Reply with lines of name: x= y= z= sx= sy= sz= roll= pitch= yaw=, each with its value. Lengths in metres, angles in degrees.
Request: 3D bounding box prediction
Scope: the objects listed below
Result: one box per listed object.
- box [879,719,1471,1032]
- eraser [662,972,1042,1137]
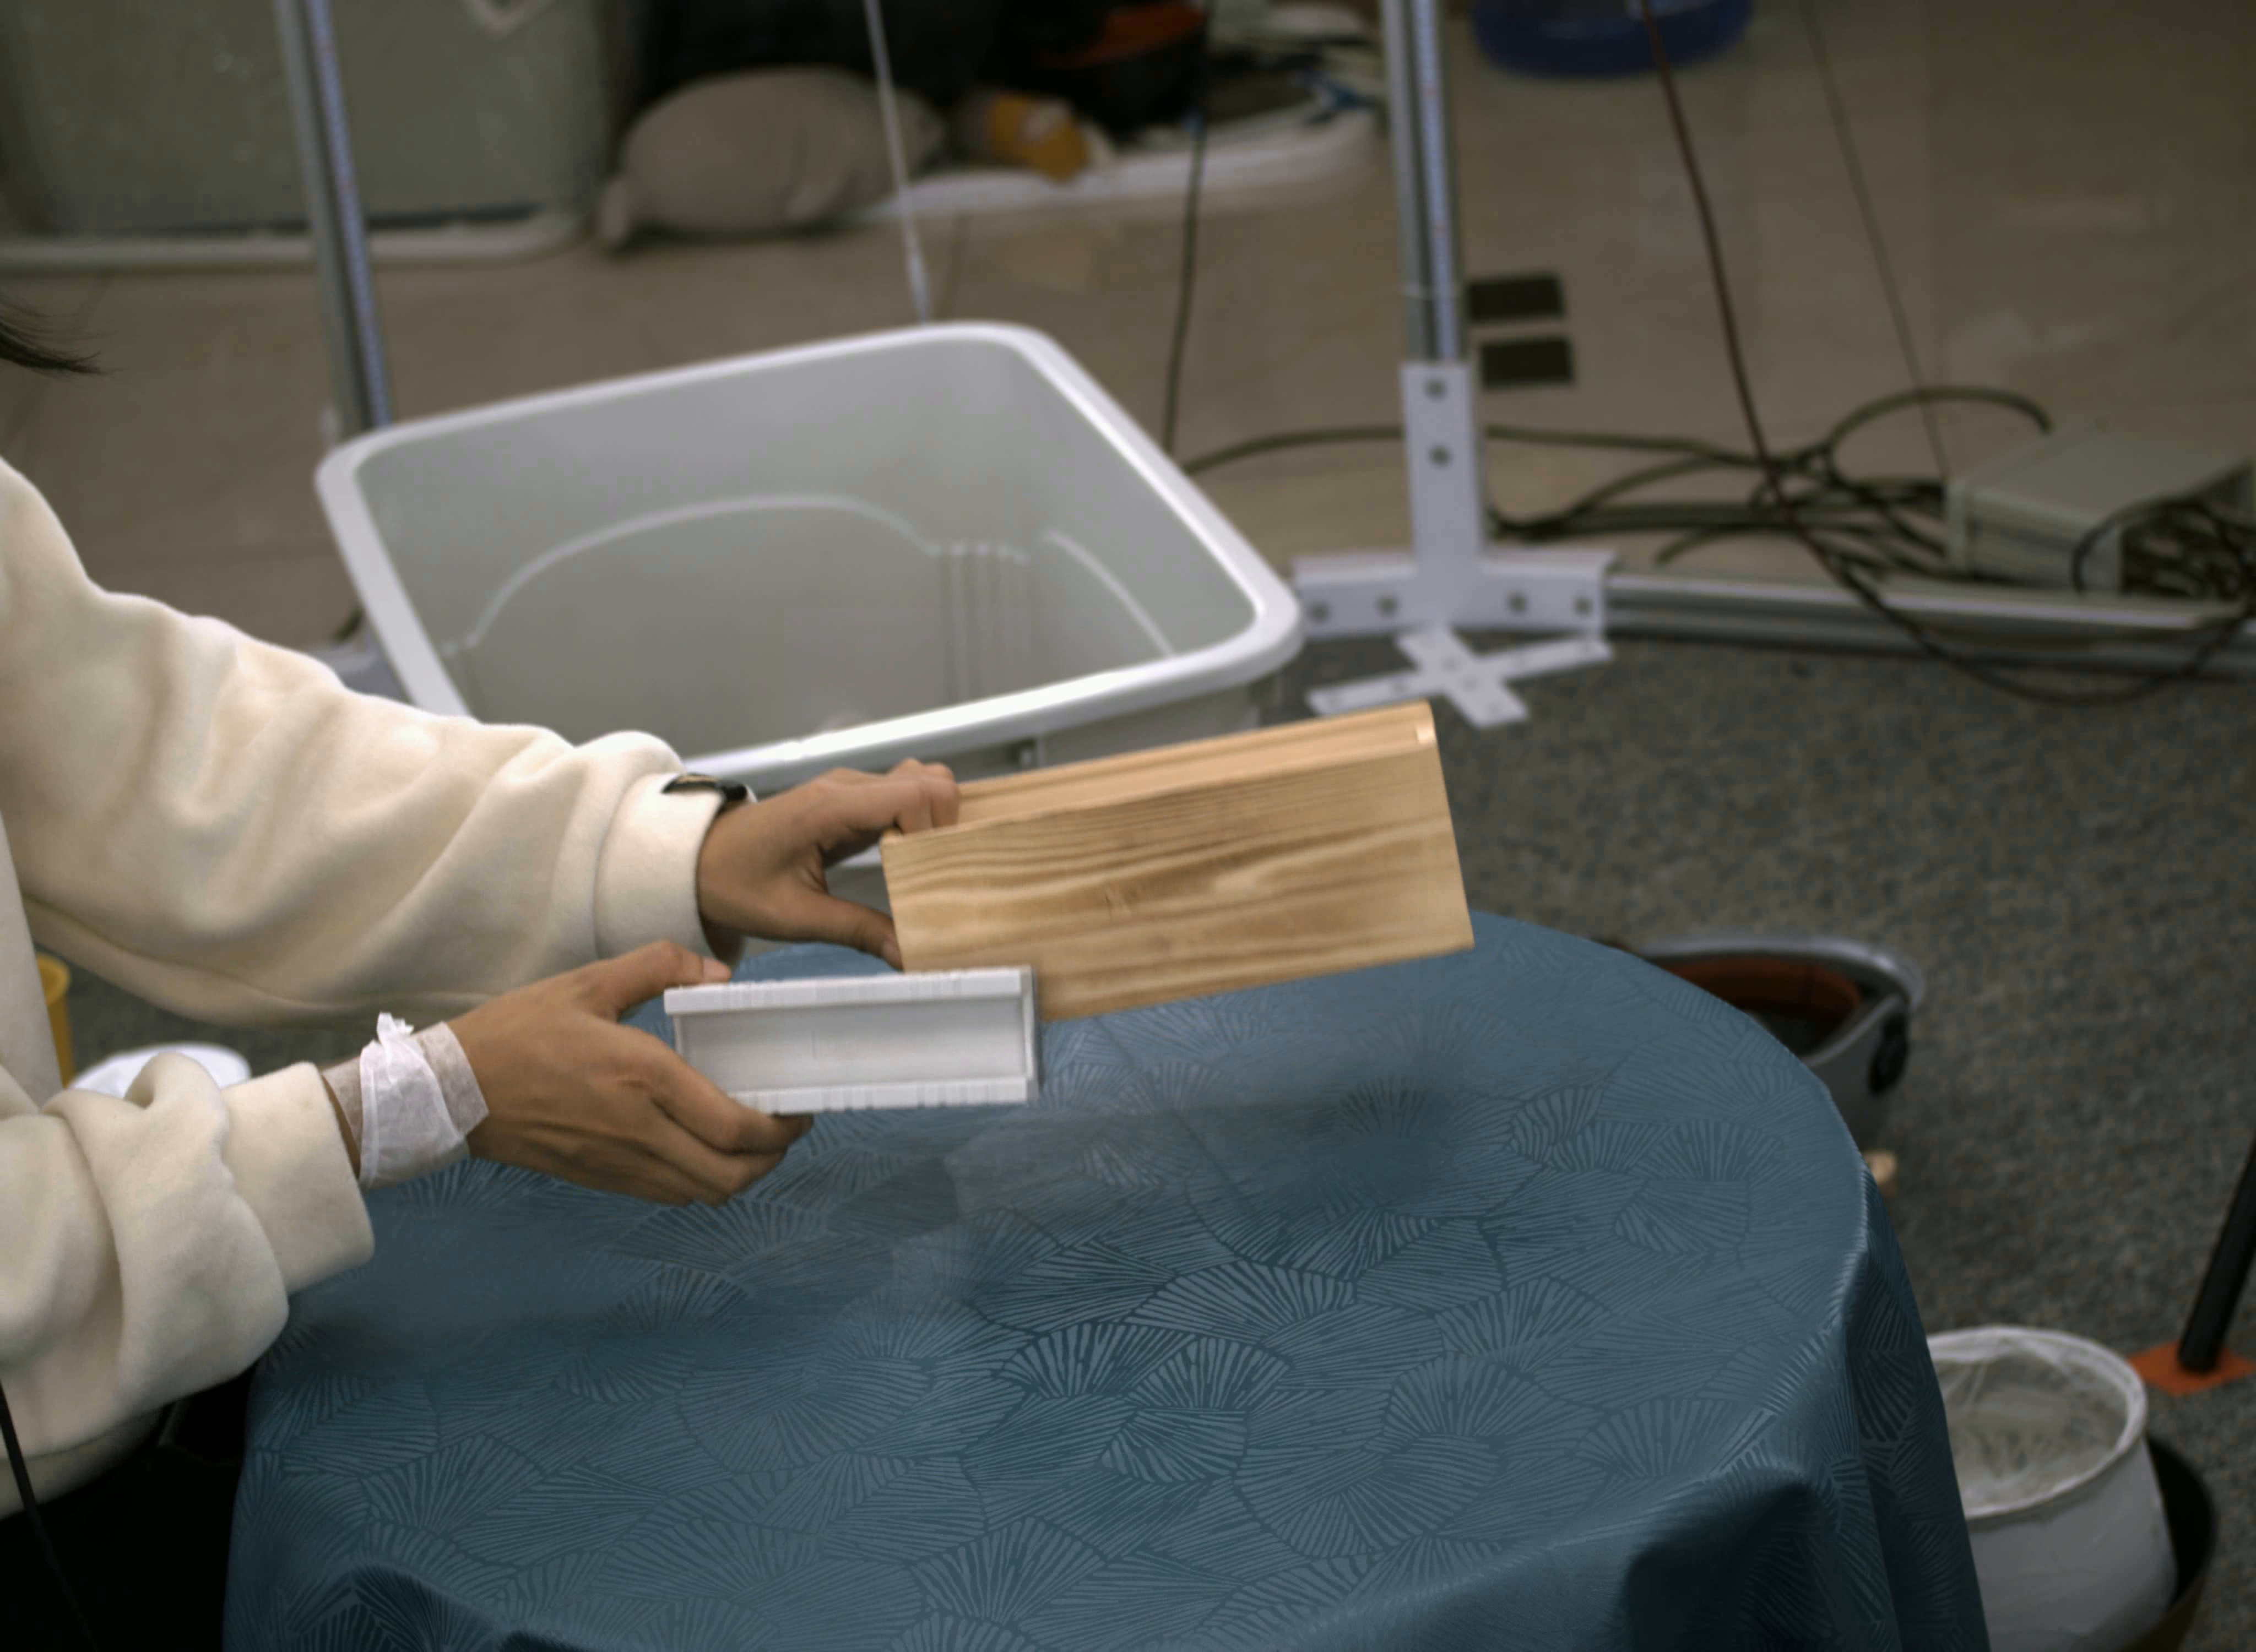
box: x=0.019 y=0.021 z=2.146 sx=0.211 sy=0.081 sz=0.107 roll=-9 pitch=10 yaw=3
eraser: x=-0.101 y=0.084 z=2.088 sx=0.134 sy=0.050 sz=0.046 roll=-5 pitch=2 yaw=8
